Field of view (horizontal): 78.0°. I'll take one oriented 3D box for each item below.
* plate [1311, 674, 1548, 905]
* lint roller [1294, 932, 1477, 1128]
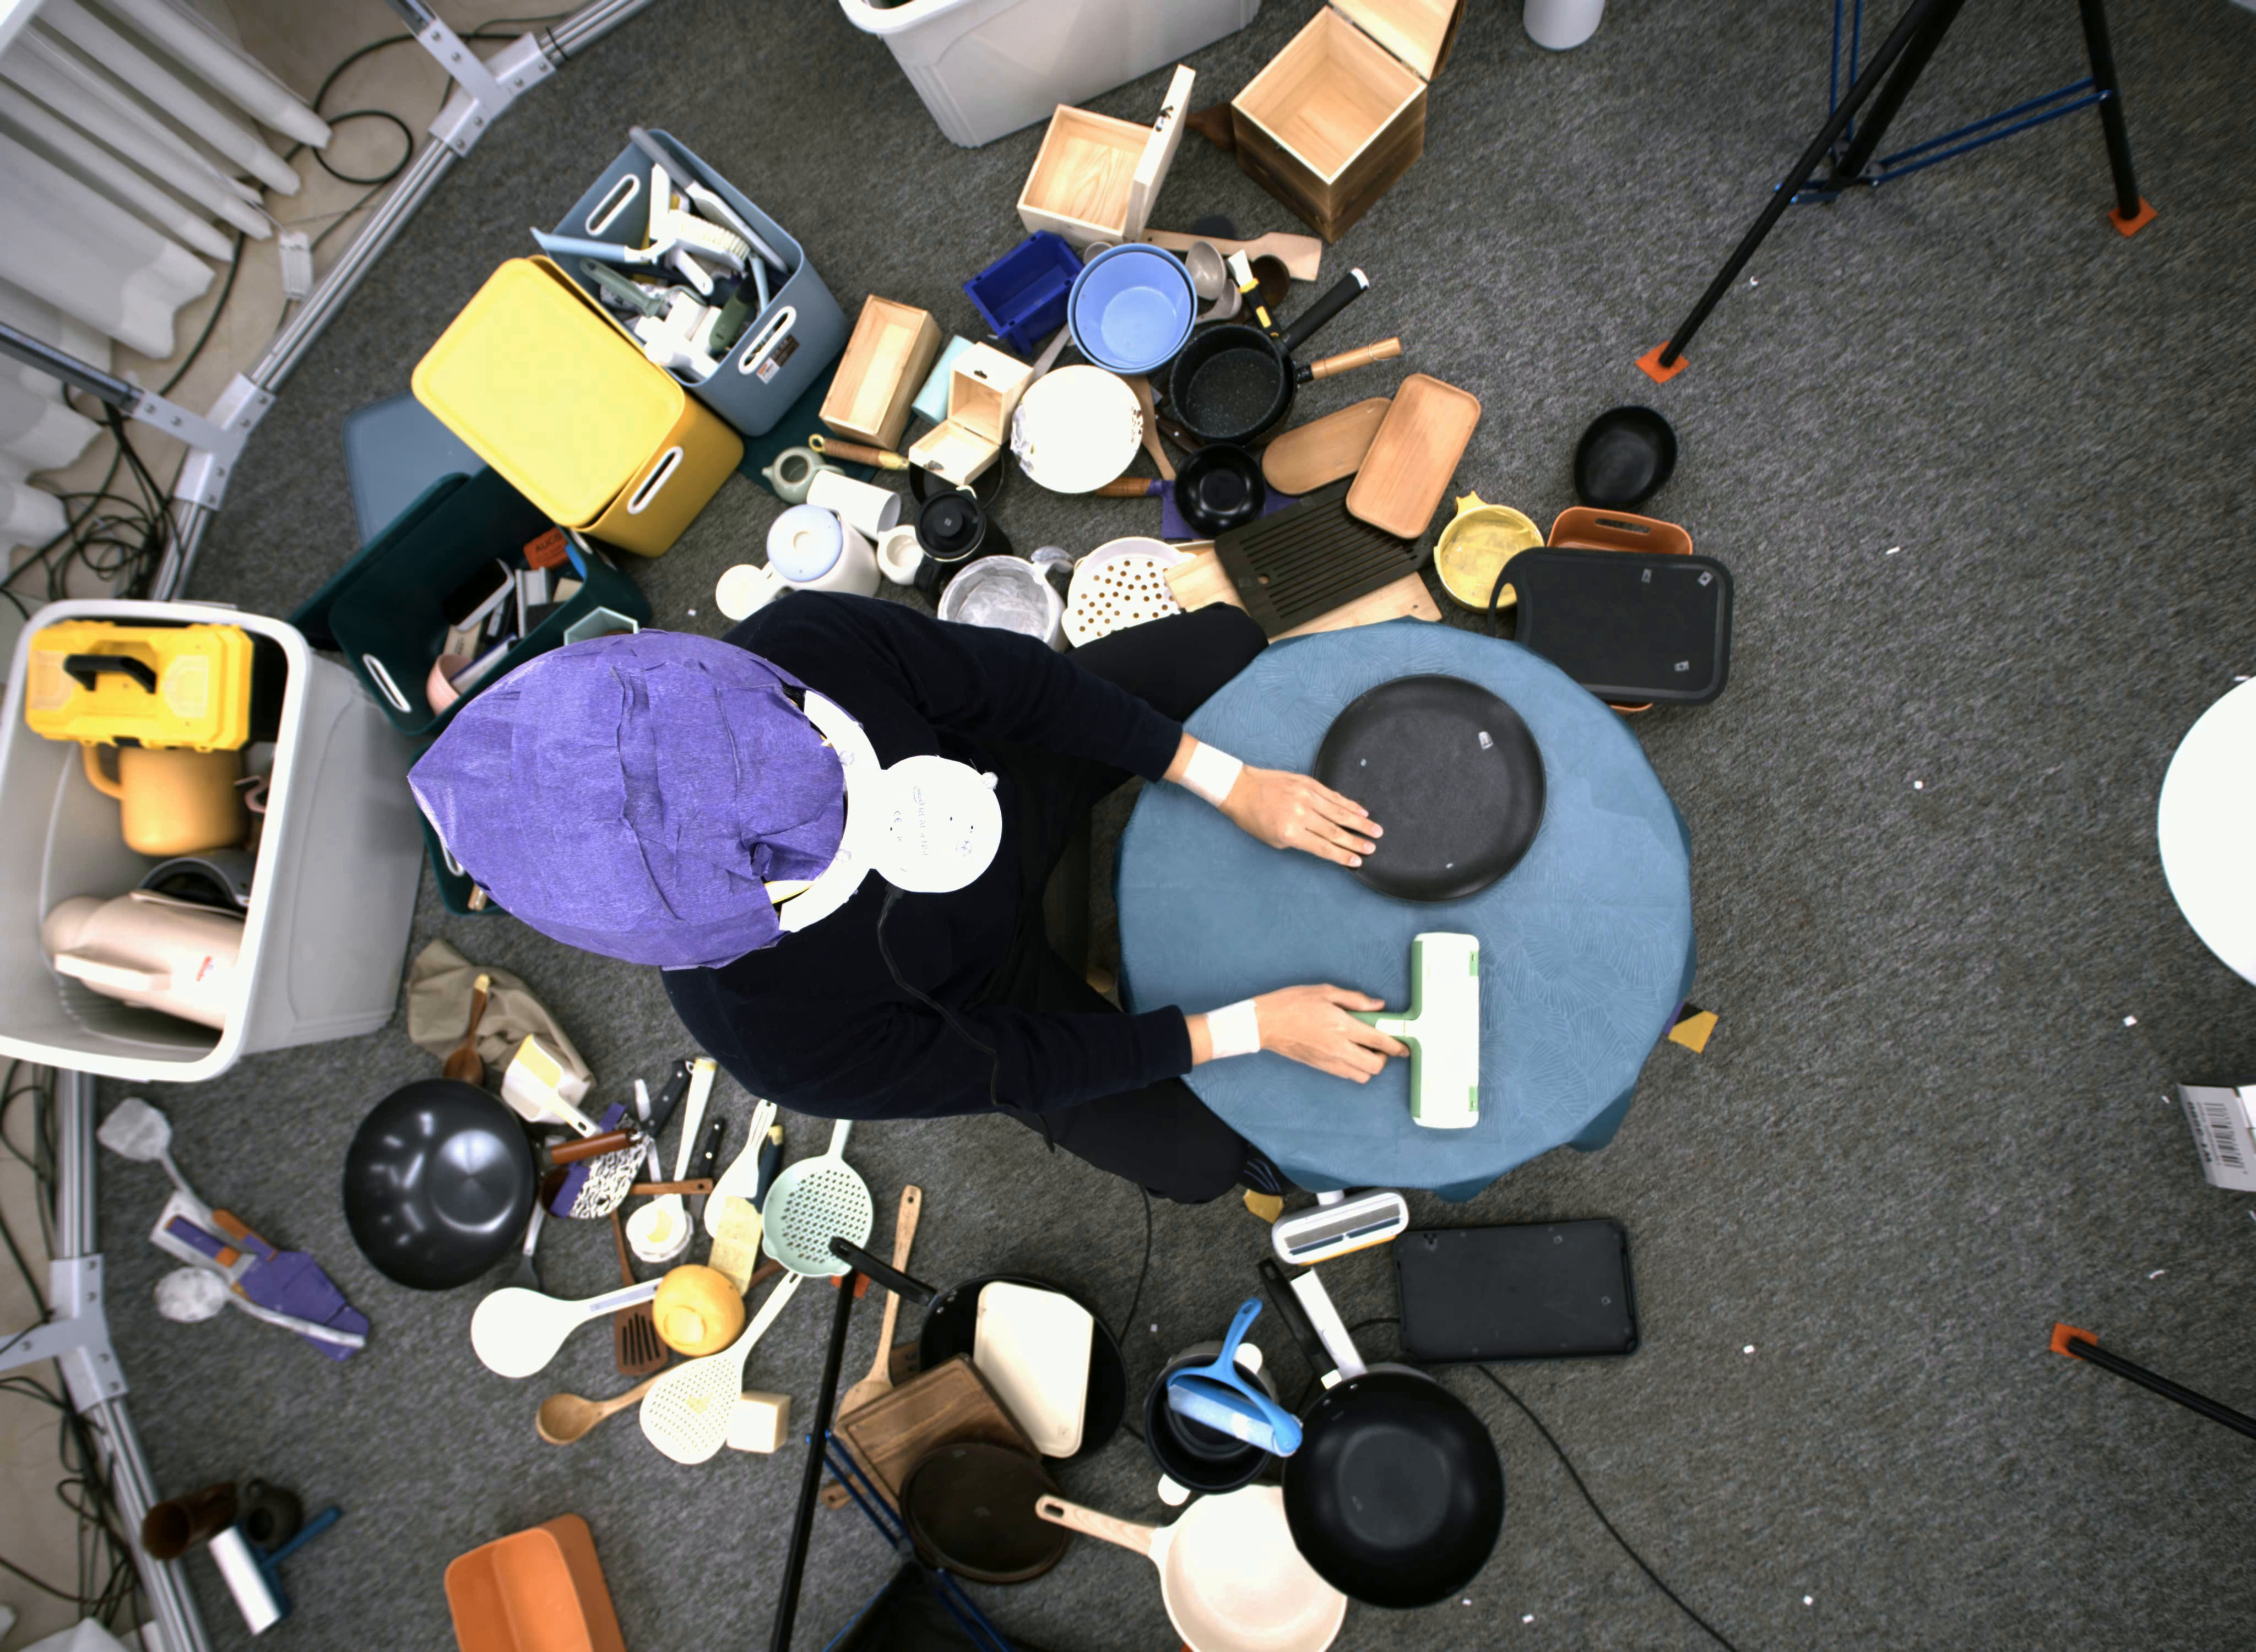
[{"bbox_3d":[0.315,-0.040,1.446,0.245,0.023,0.243,-1,87,10],"label":"plate"},{"bbox_3d":[0.263,0.205,1.410,0.184,0.082,0.197,0,85,4],"label":"lint roller"}]
